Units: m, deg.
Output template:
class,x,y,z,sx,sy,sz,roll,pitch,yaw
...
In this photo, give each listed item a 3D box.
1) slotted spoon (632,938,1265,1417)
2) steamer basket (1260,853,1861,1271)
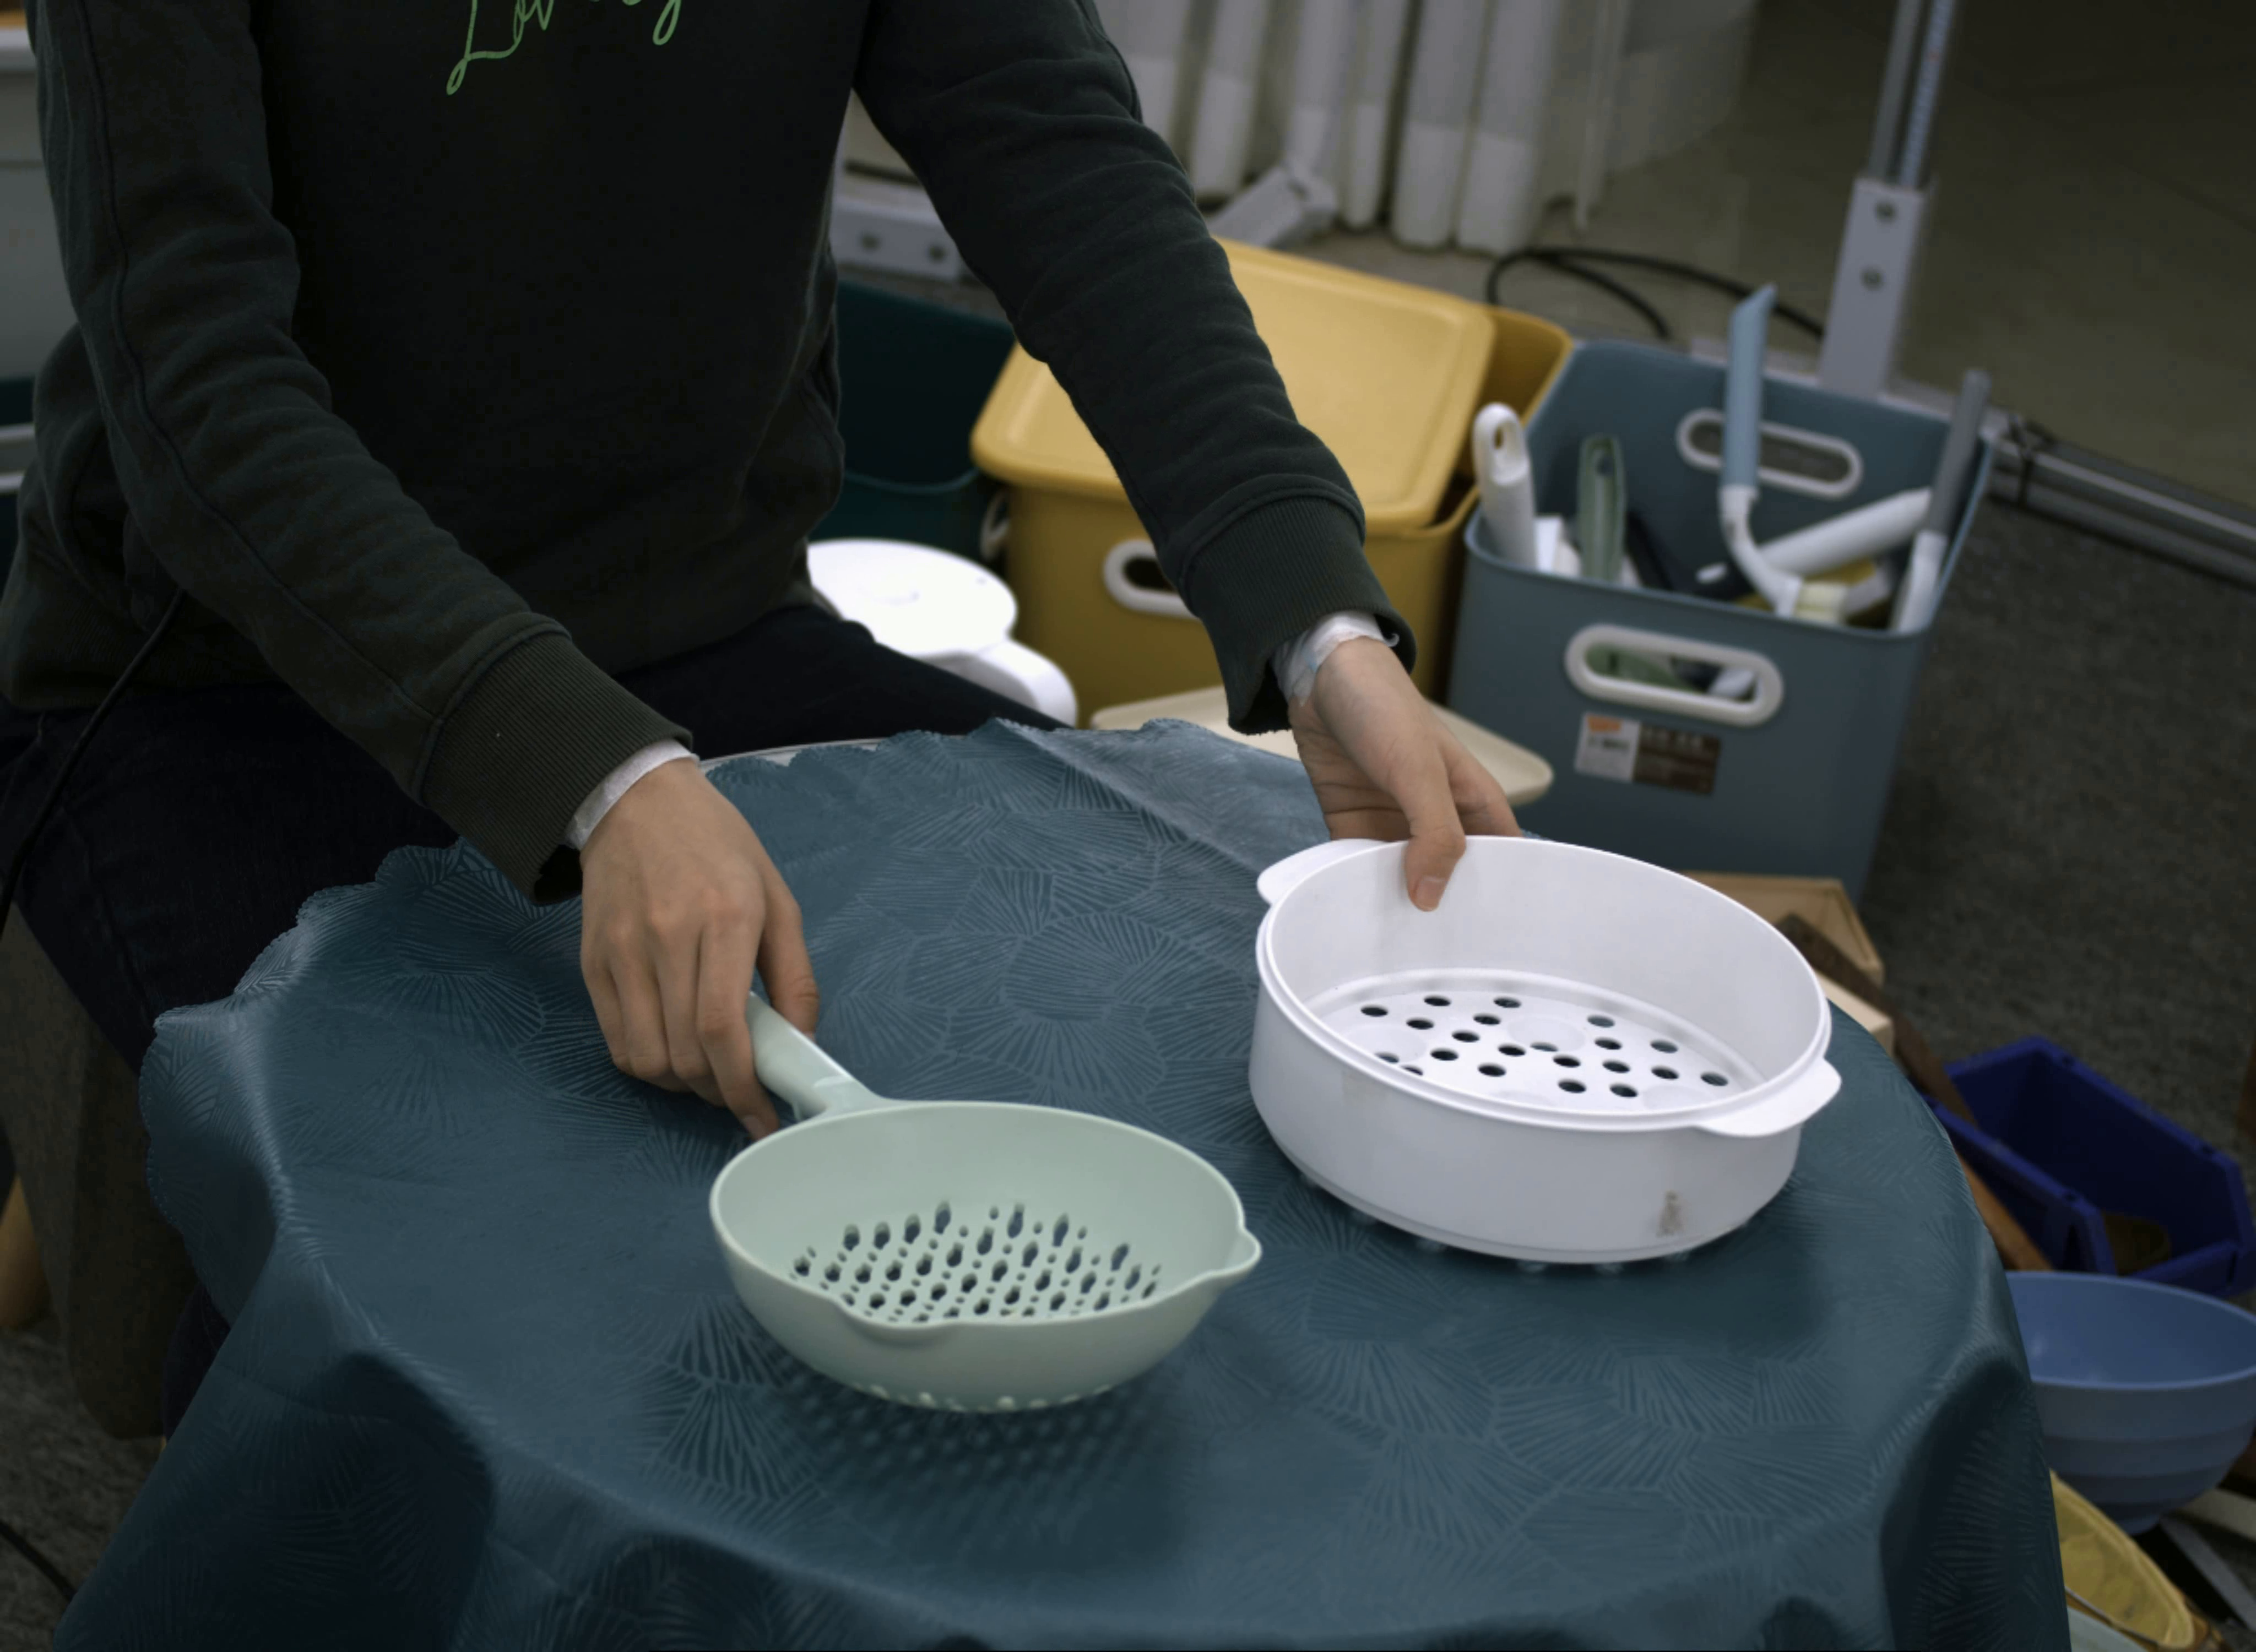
class,x,y,z,sx,sy,sz,roll,pitch,yaw
slotted spoon,-0.092,0.100,1.755,0.168,0.075,0.362,-7,30,-26
steamer basket,0.144,0.082,1.844,0.232,0.069,0.201,26,31,34
